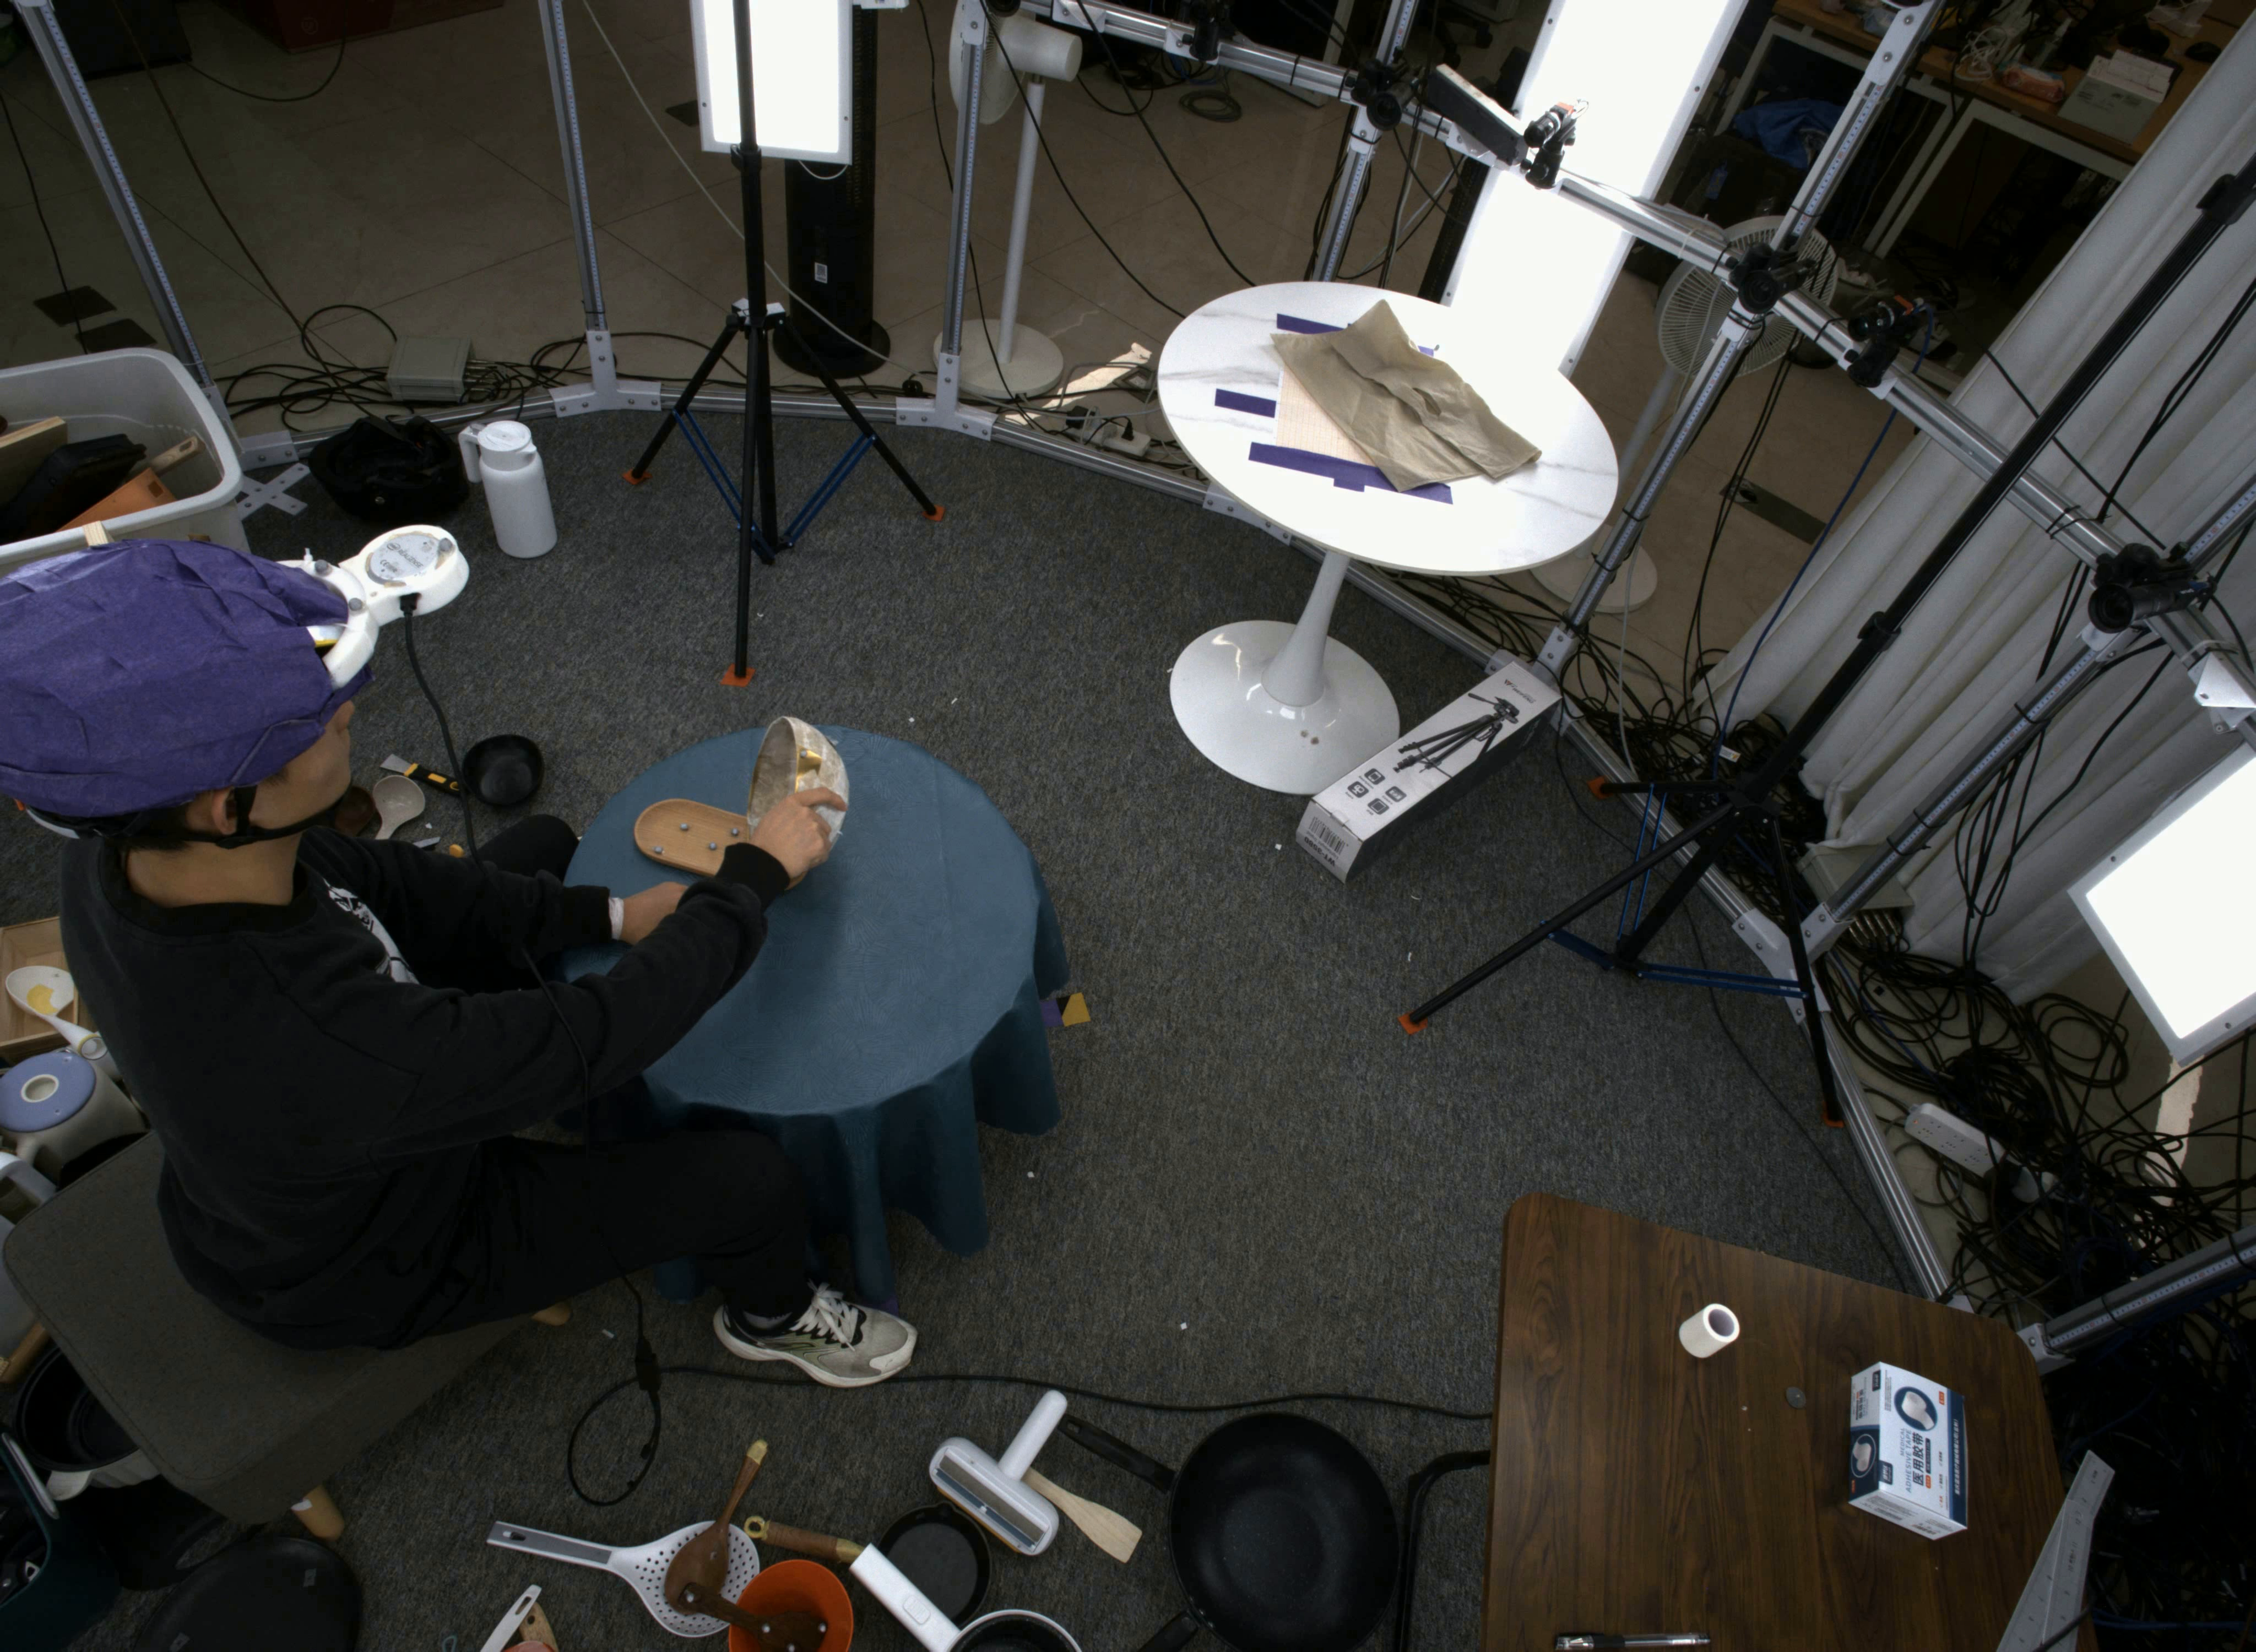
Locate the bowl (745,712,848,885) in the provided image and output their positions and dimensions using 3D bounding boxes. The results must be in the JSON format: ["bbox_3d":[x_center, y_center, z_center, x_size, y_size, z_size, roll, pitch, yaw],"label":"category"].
[{"bbox_3d":[-0.408,-0.029,1.625,0.096,0.216,0.209,7,49,-32],"label":"bowl"}]

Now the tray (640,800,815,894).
[{"bbox_3d":[-0.520,0.026,1.675,0.230,0.020,0.100,17,54,-5],"label":"tray"}]
